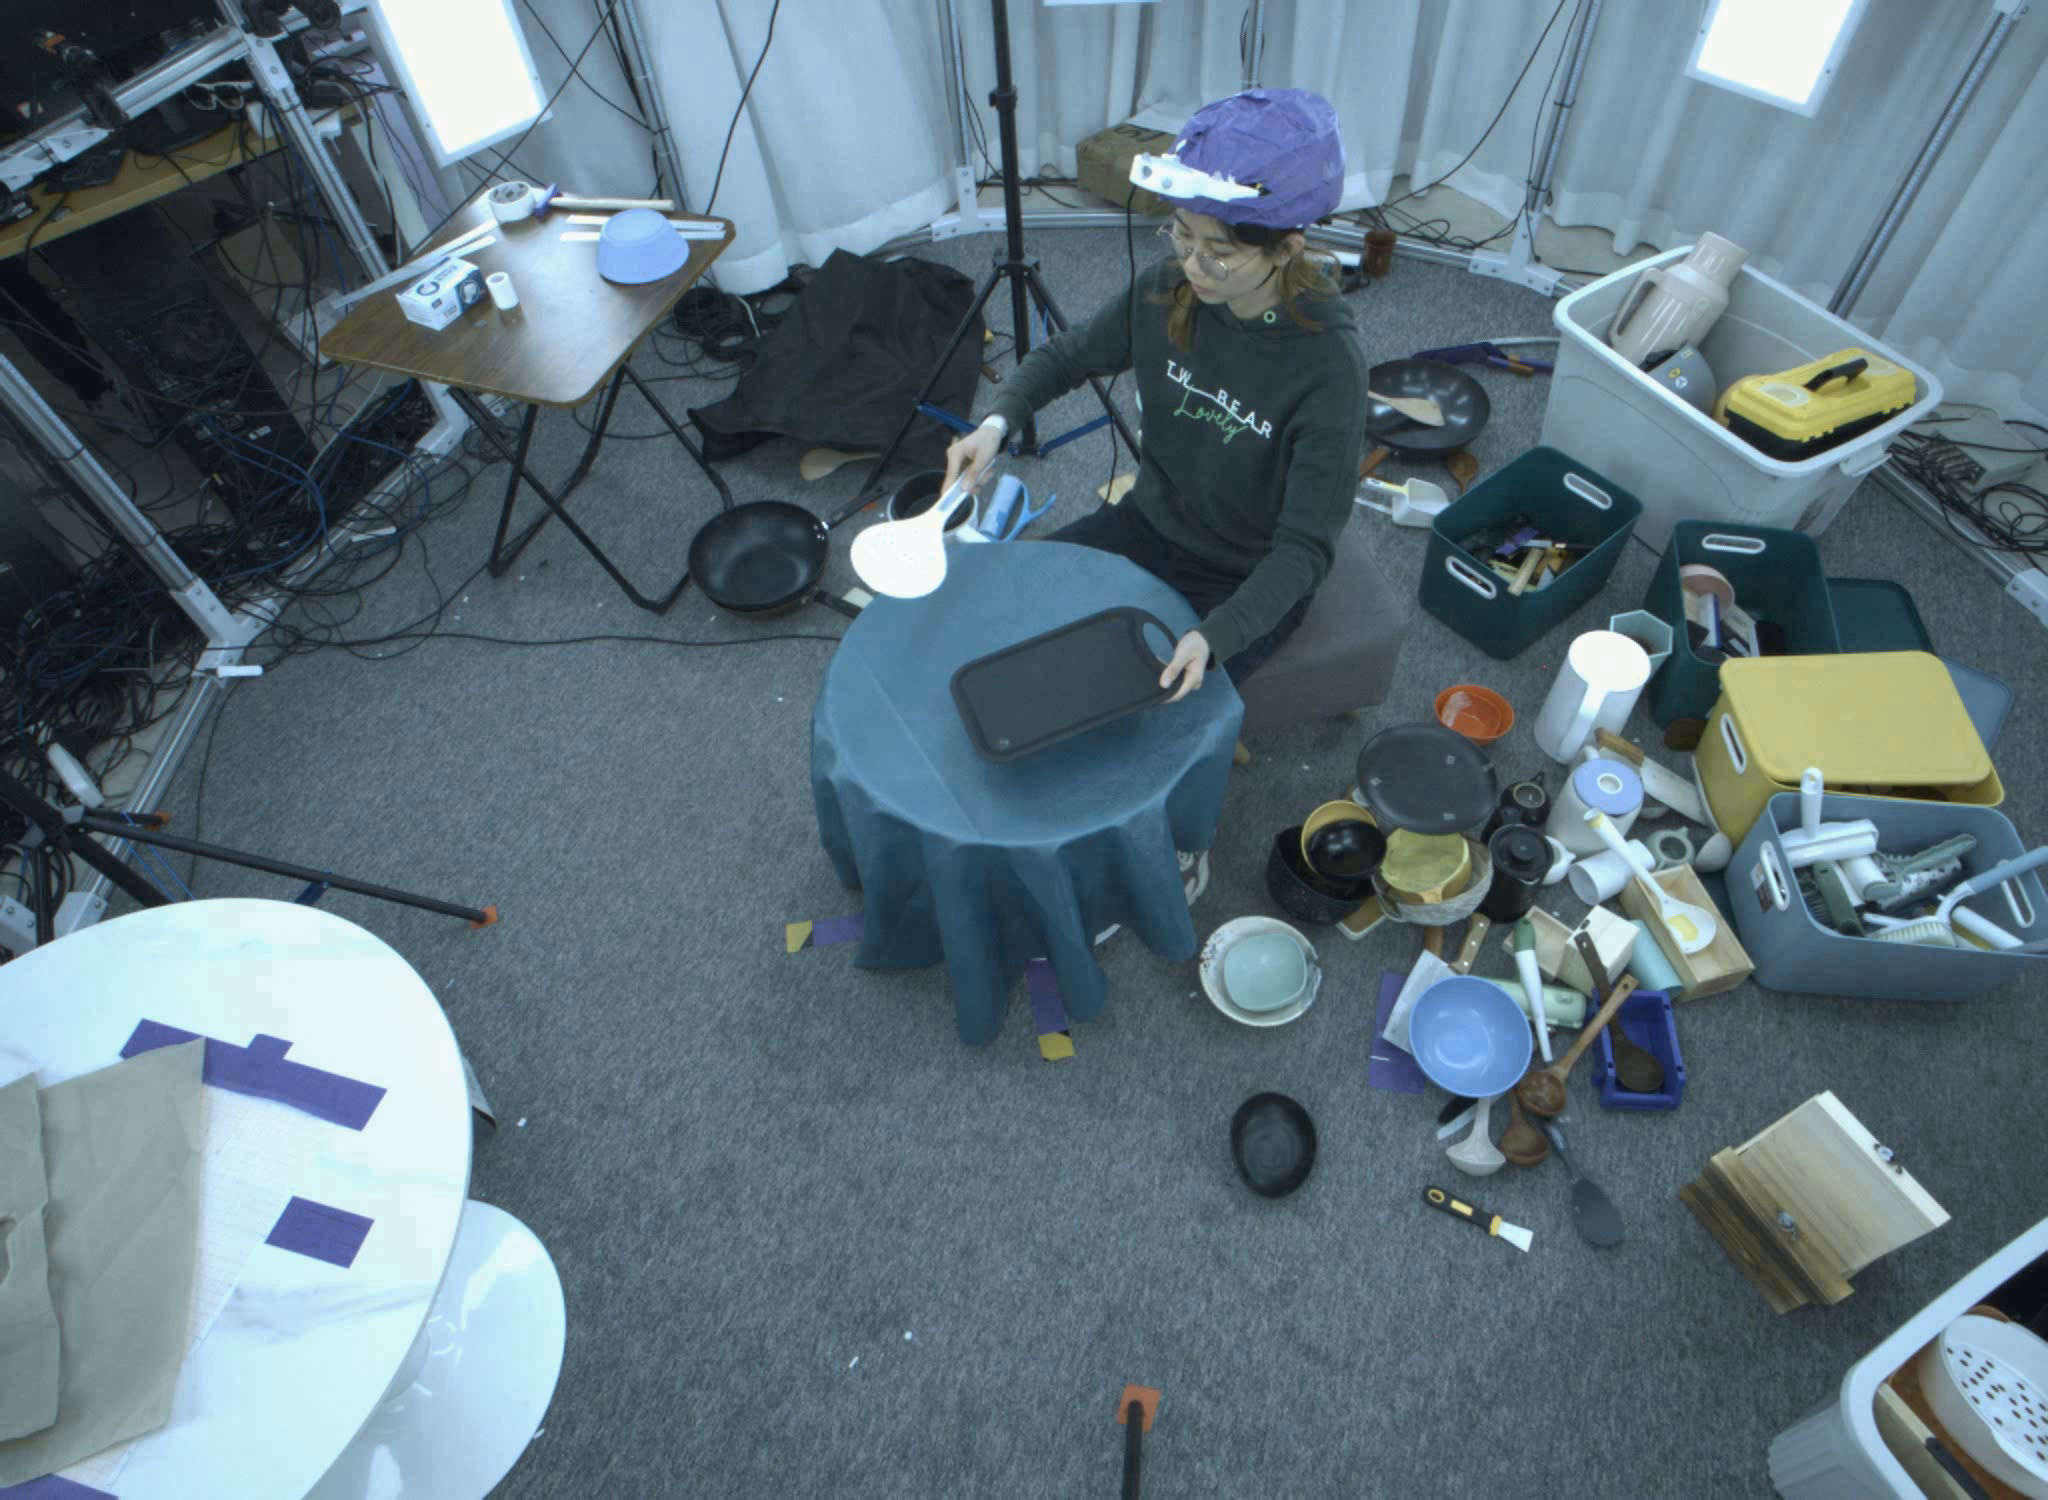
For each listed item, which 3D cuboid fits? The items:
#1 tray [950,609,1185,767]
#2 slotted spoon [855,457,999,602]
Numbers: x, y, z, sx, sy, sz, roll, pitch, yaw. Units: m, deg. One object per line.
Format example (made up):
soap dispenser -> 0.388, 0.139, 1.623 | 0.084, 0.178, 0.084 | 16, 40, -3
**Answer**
tray -> 0.064, -0.097, 1.736 | 0.326, 0.010, 0.207 | -21, 50, -5
slotted spoon -> -0.128, -0.334, 1.799 | 0.136, 0.046, 0.350 | 30, 58, 3
